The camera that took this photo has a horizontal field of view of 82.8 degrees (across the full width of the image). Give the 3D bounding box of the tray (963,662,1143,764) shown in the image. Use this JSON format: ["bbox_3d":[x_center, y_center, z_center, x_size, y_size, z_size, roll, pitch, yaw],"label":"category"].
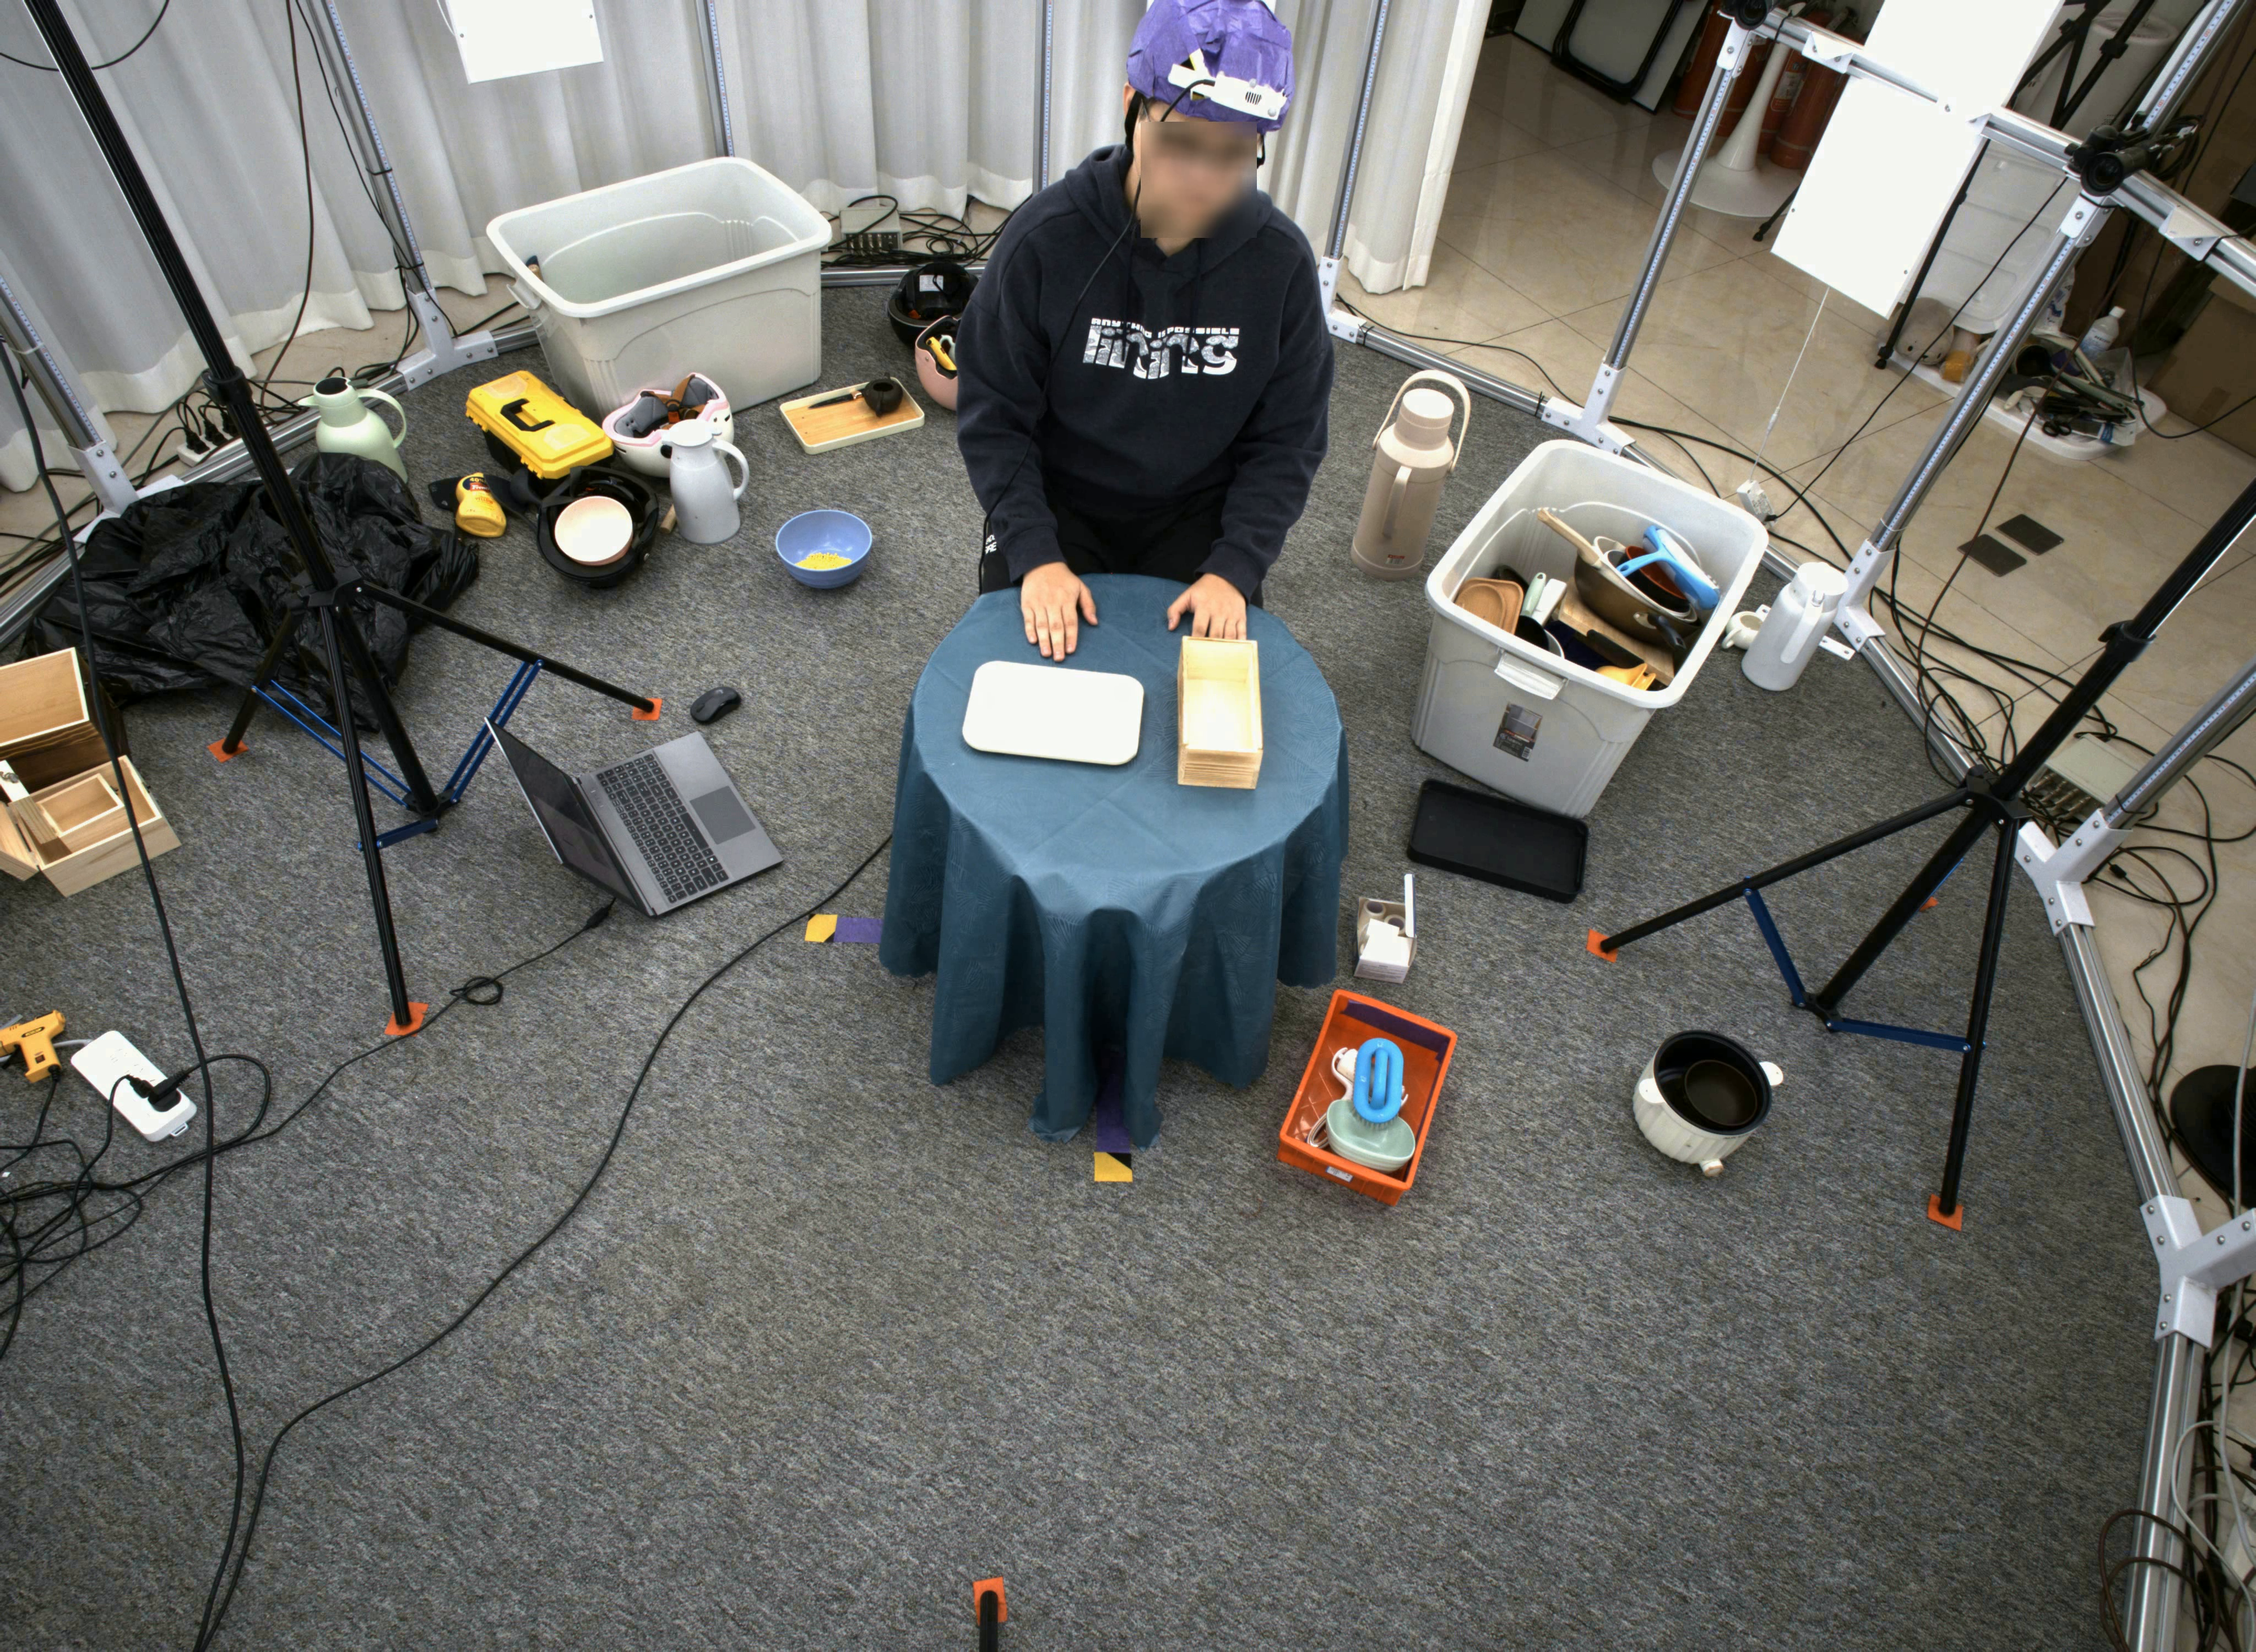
[{"bbox_3d":[-0.101,-0.157,1.782,0.239,0.017,0.175,6,48,1],"label":"tray"}]

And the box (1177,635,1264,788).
[{"bbox_3d":[0.125,-0.160,1.762,0.107,0.078,0.217,3,49,-2],"label":"box"}]
